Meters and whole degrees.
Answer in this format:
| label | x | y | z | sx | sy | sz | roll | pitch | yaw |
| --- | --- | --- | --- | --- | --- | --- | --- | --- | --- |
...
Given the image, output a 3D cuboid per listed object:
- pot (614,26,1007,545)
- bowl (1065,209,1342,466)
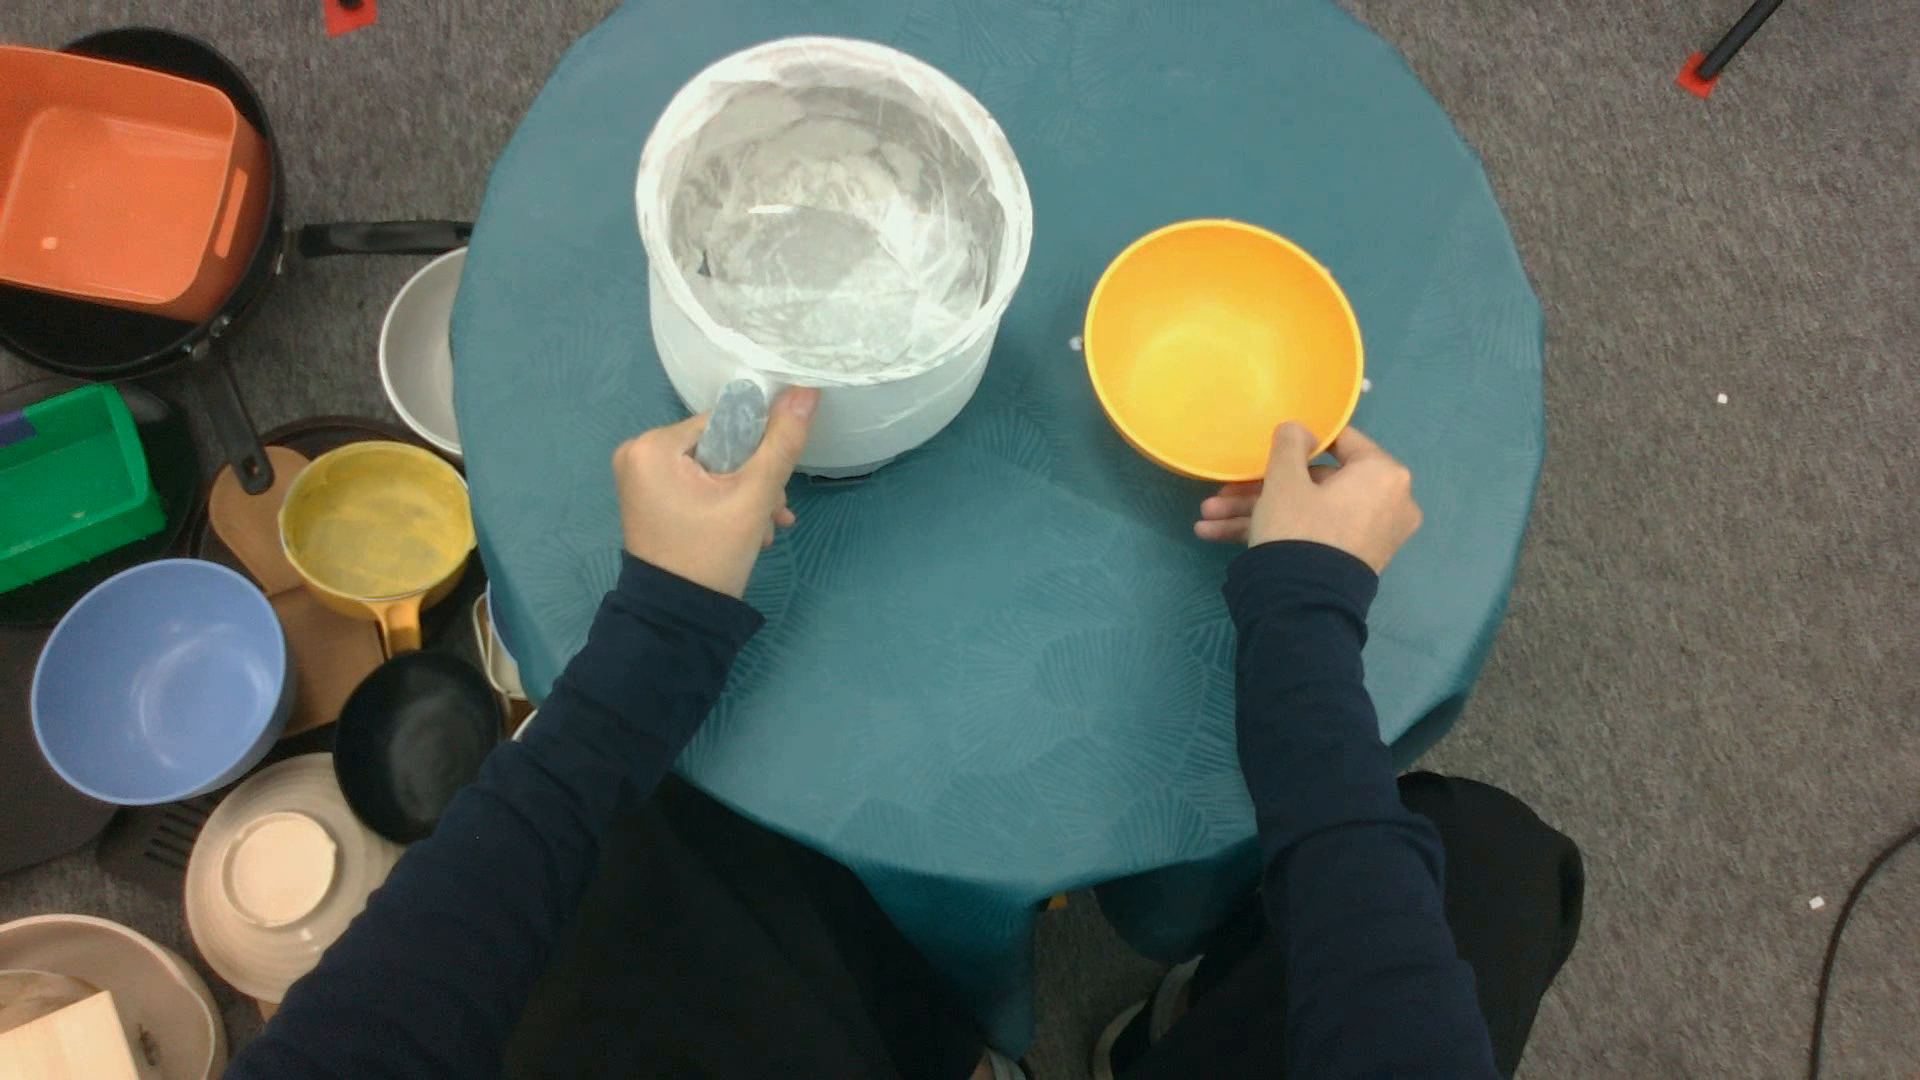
| label | x | y | z | sx | sy | sz | roll | pitch | yaw |
| --- | --- | --- | --- | --- | --- | --- | --- | --- | --- |
| pot | -0.085 | -0.113 | 0.670 | 0.179 | 0.136 | 0.234 | 22 | 71 | -2 |
| bowl | 0.122 | -0.097 | 0.729 | 0.145 | 0.060 | 0.145 | 2 | 72 | -6 |
